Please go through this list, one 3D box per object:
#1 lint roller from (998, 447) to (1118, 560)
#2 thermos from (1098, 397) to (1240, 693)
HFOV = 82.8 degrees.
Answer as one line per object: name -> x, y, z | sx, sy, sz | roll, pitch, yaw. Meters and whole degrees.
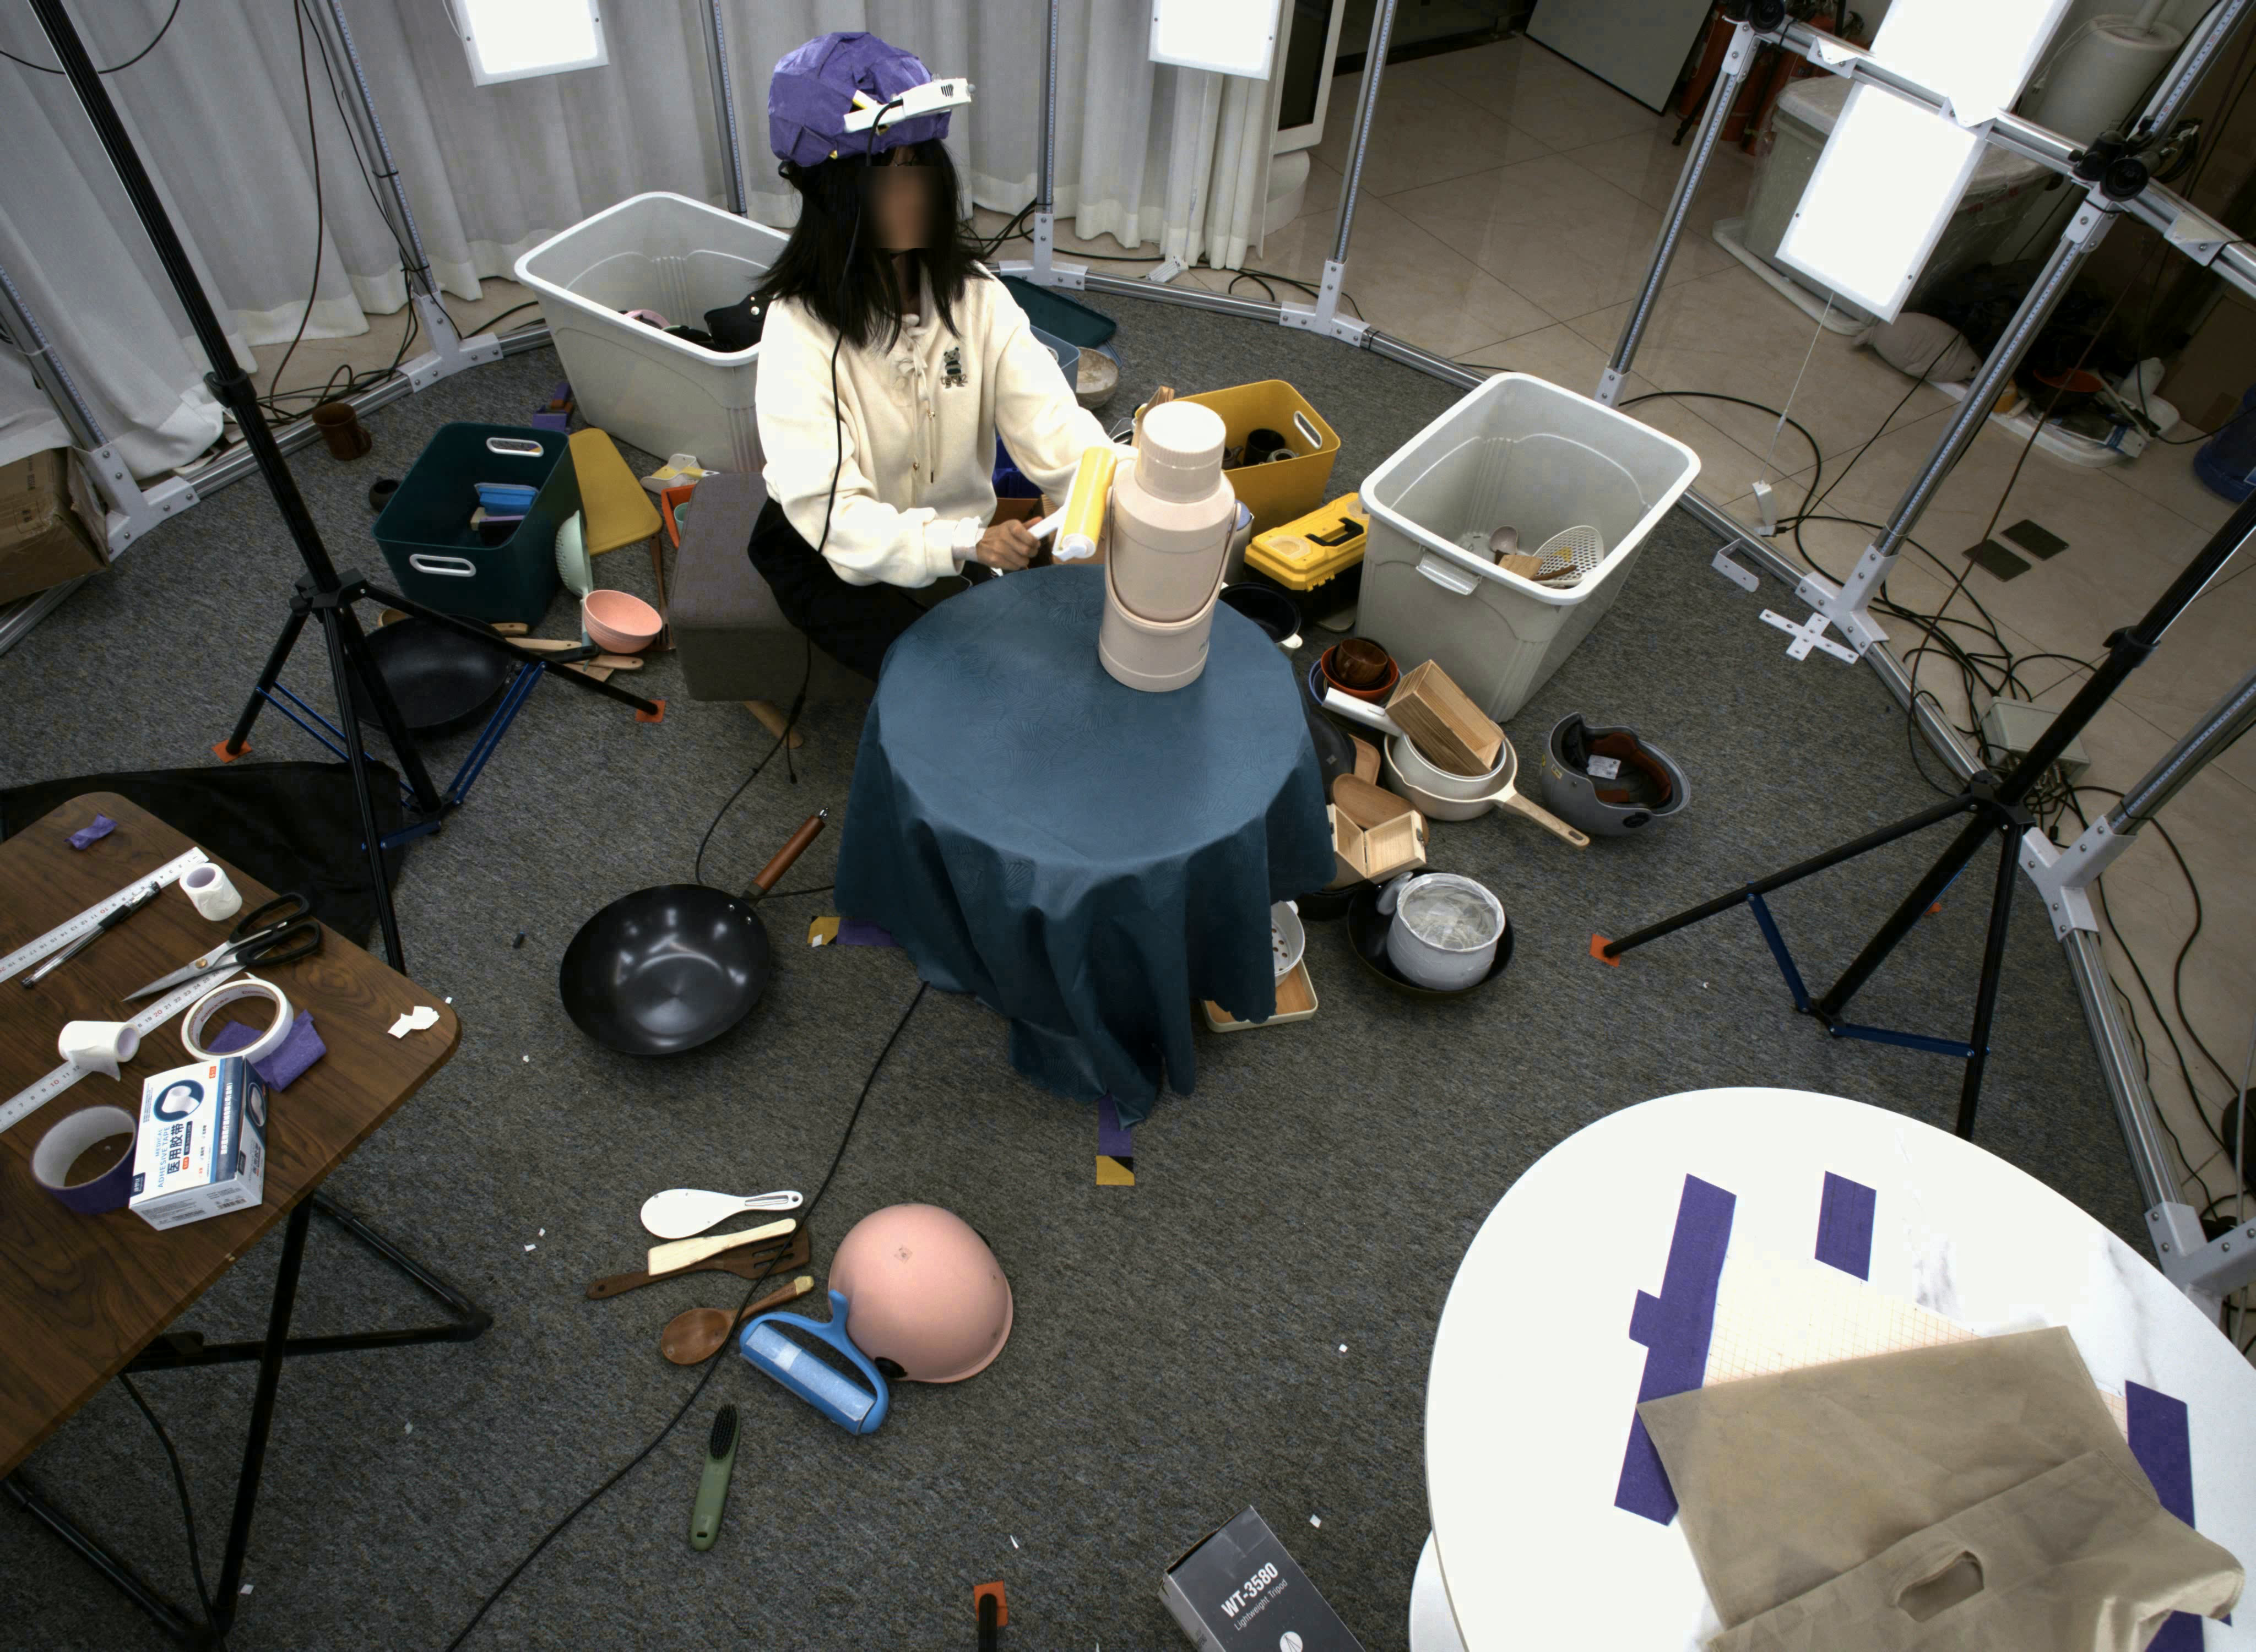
lint roller -> -0.109, -0.412, 1.734 | 0.192, 0.050, 0.178 | -12, 50, 31
thermos -> 0.055, -0.384, 1.747 | 0.175, 0.397, 0.212 | 7, 51, 0
